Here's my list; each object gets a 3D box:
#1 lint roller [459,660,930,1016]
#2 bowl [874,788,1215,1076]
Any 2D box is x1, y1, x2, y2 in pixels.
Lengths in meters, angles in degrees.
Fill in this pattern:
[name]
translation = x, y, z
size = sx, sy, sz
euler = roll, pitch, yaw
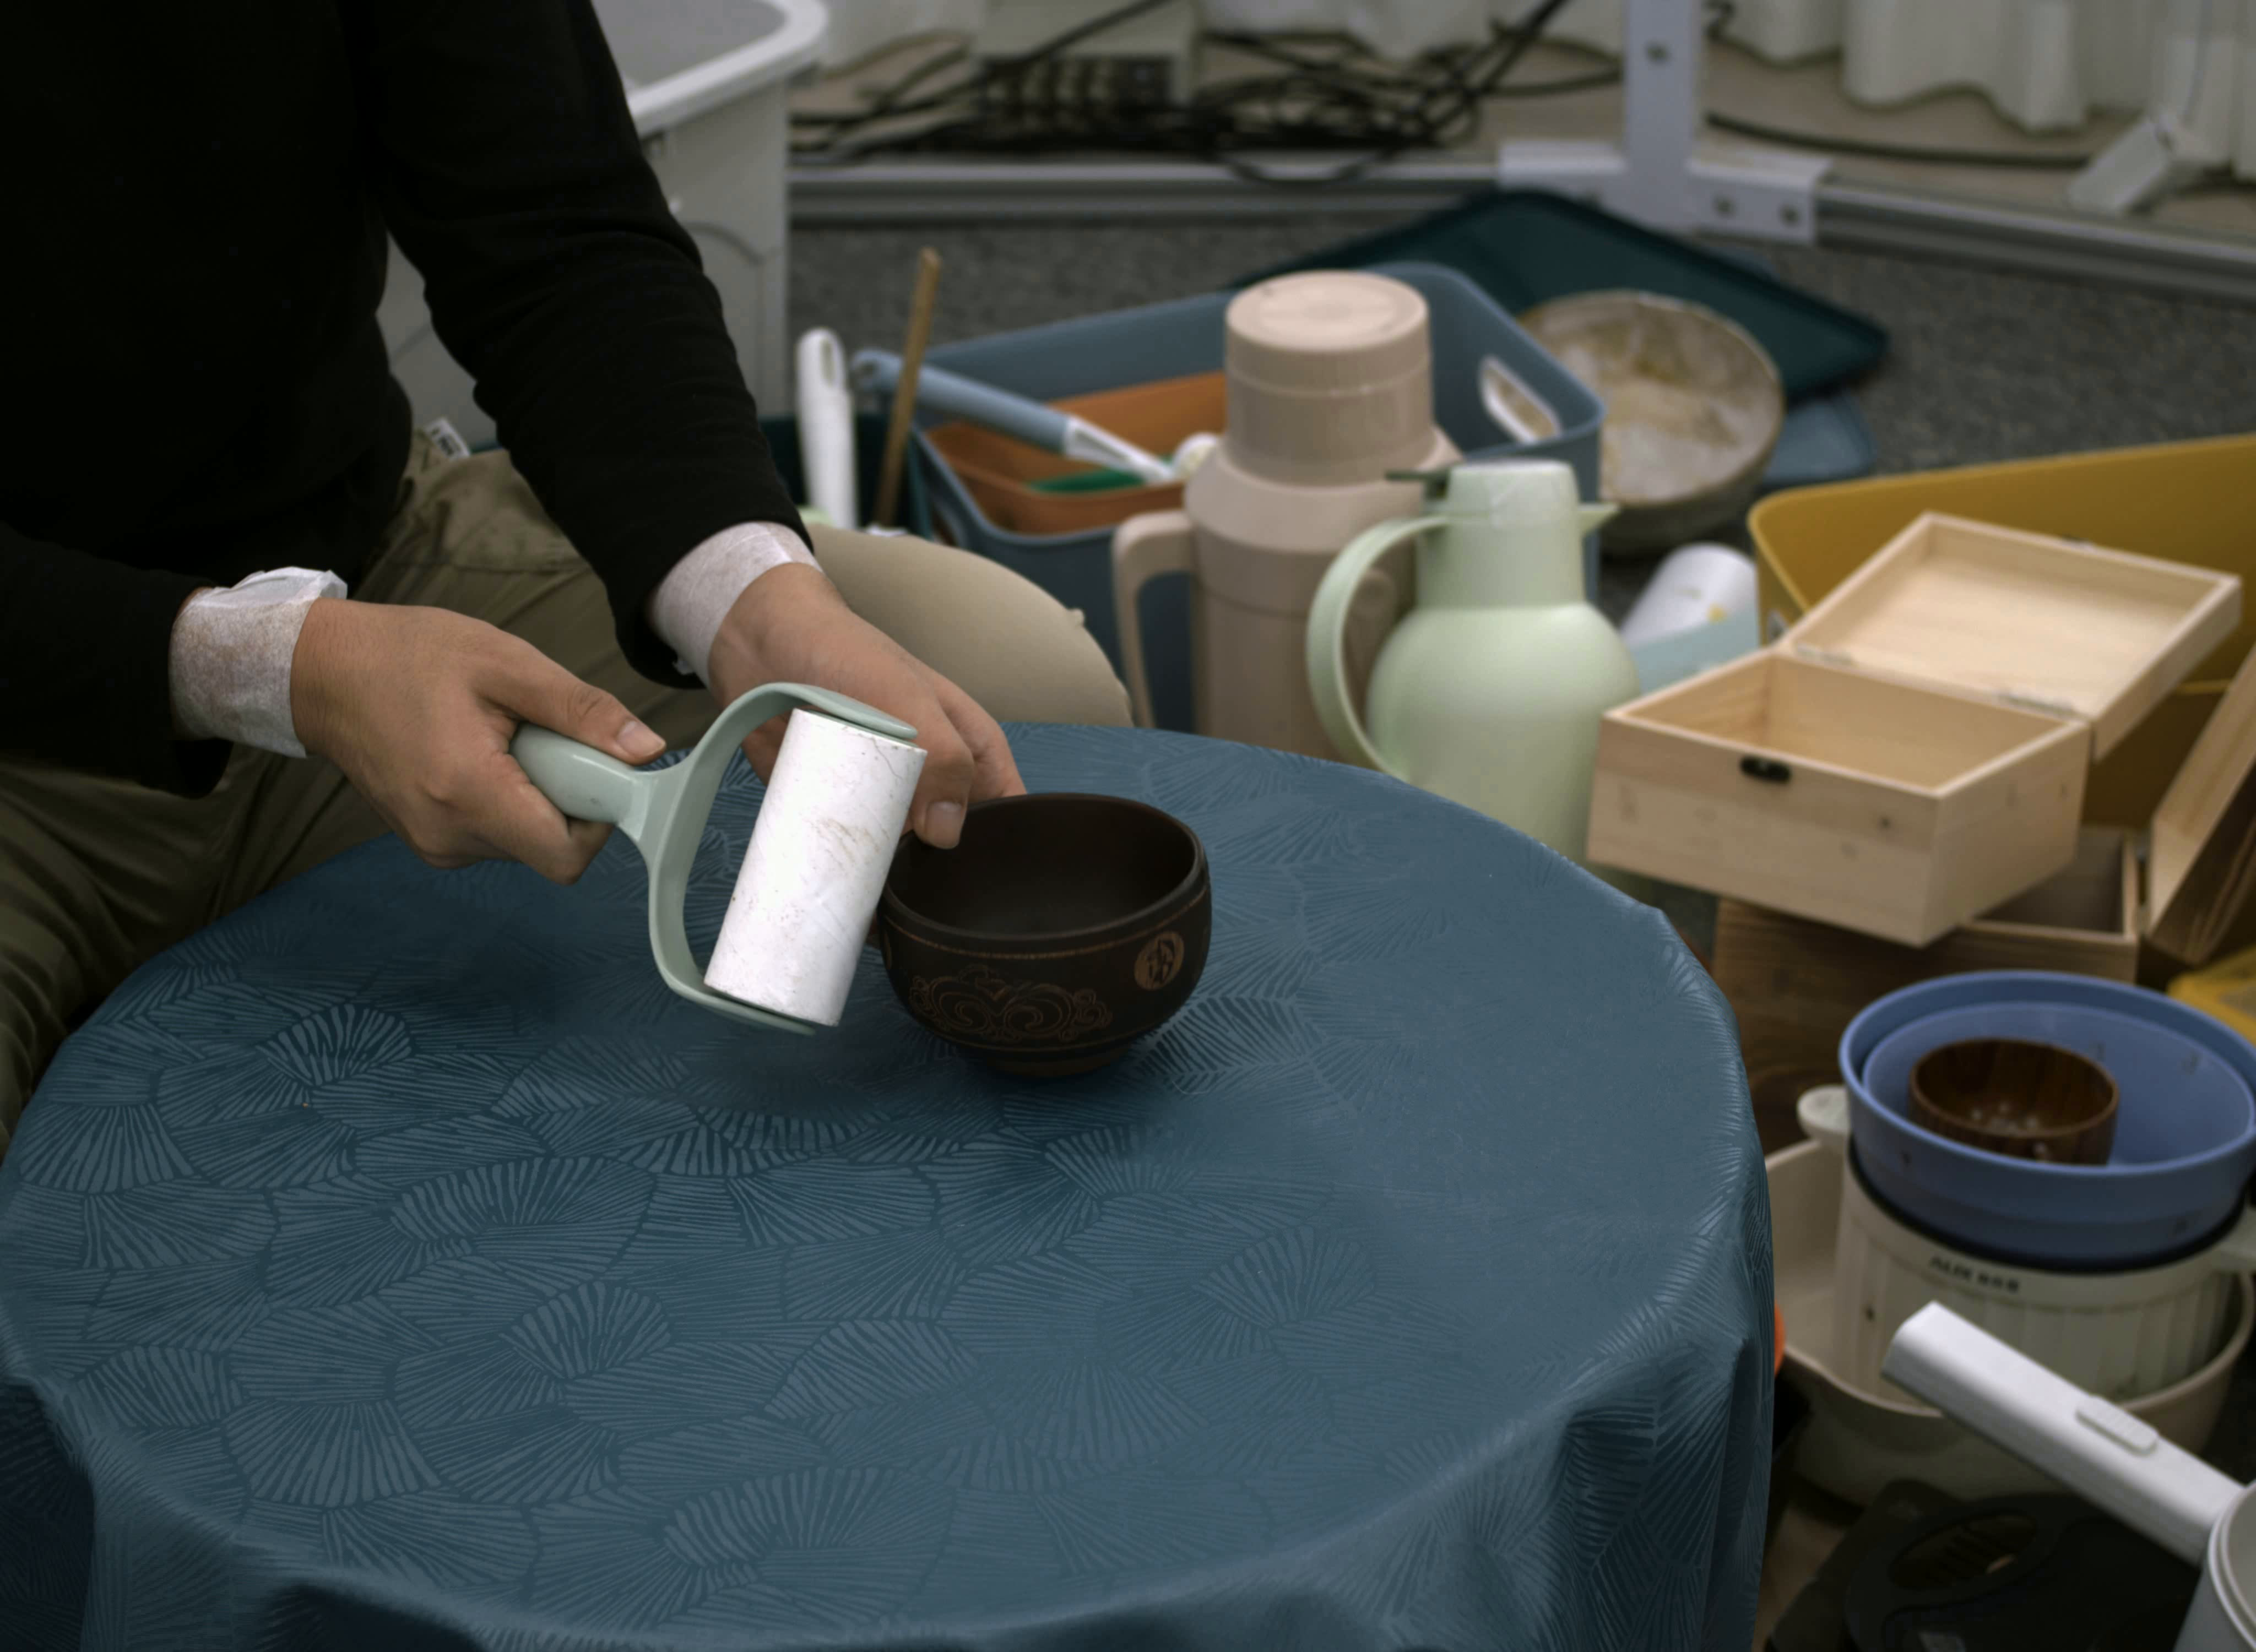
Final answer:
[lint roller]
translation = -0.162, -0.013, 1.945
size = 0.197, 0.117, 0.048
euler = 18, -1, 31
[bowl]
translation = -0.027, 0.043, 1.937
size = 0.117, 0.069, 0.120
euler = -4, 25, 2
